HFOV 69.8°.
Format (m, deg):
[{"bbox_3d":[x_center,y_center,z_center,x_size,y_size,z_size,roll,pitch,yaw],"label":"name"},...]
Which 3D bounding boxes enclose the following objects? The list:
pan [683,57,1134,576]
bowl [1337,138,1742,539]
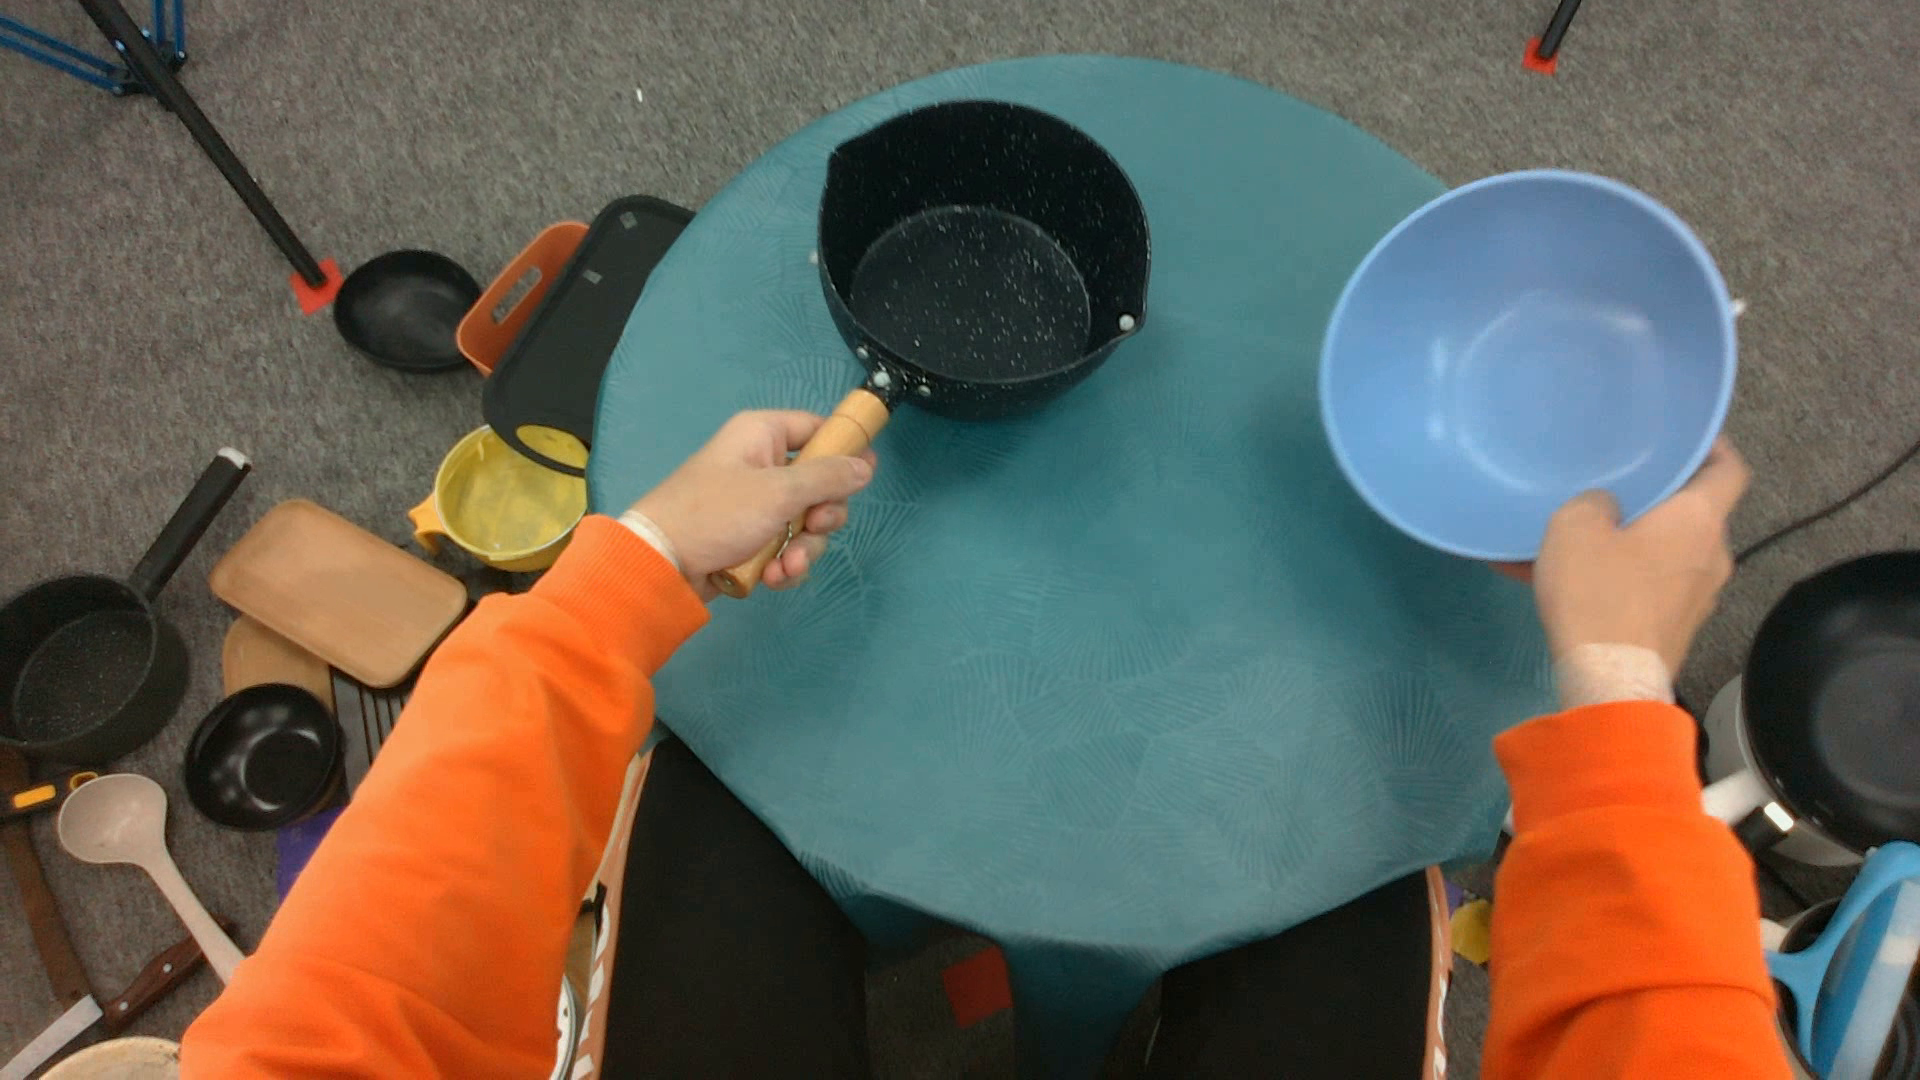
[{"bbox_3d":[-0.039,-0.108,0.741,0.207,0.108,0.344,30,69,2],"label":"pan"},{"bbox_3d":[0.305,-0.096,0.707,0.095,0.195,0.197,6,57,-45],"label":"bowl"}]
